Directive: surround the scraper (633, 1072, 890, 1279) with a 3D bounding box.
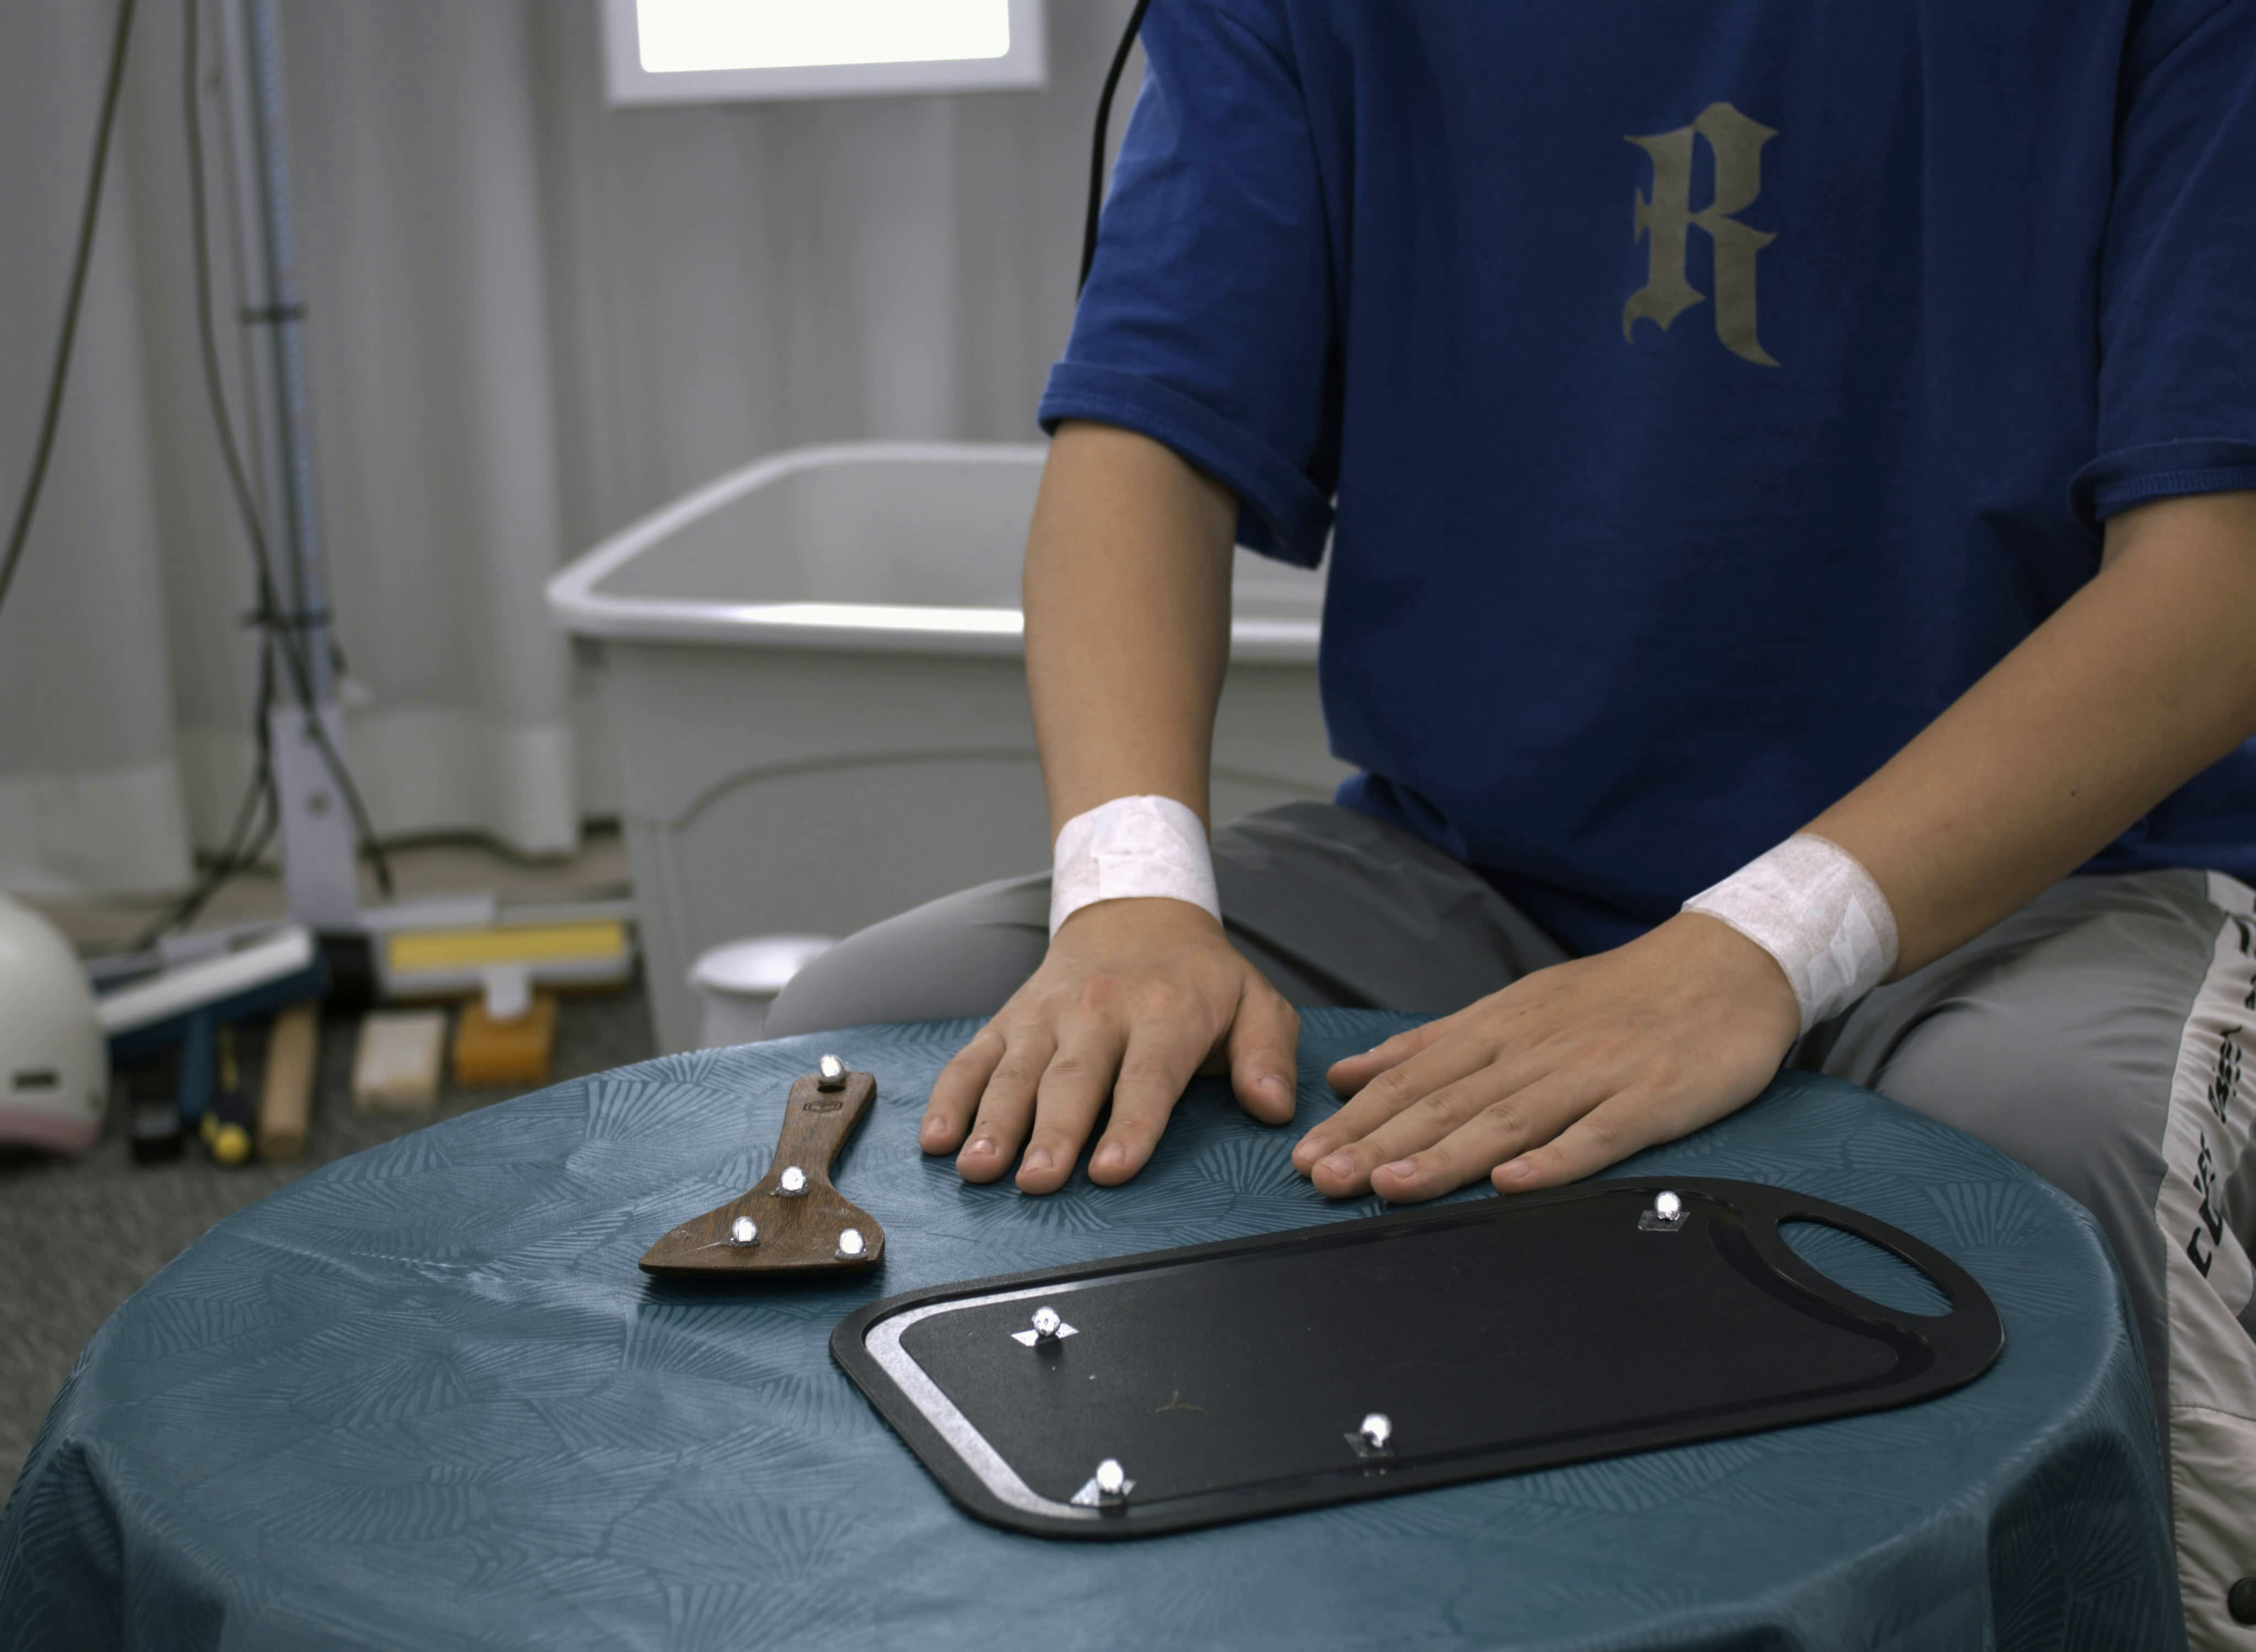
[{"bbox_3d":[-0.104,0.110,1.731,0.075,0.011,0.212,-1,14,5],"label":"scraper"}]

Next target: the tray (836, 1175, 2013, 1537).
[{"bbox_3d":[0.088,0.145,1.566,0.324,0.010,0.213,-7,15,-17],"label":"tray"}]
